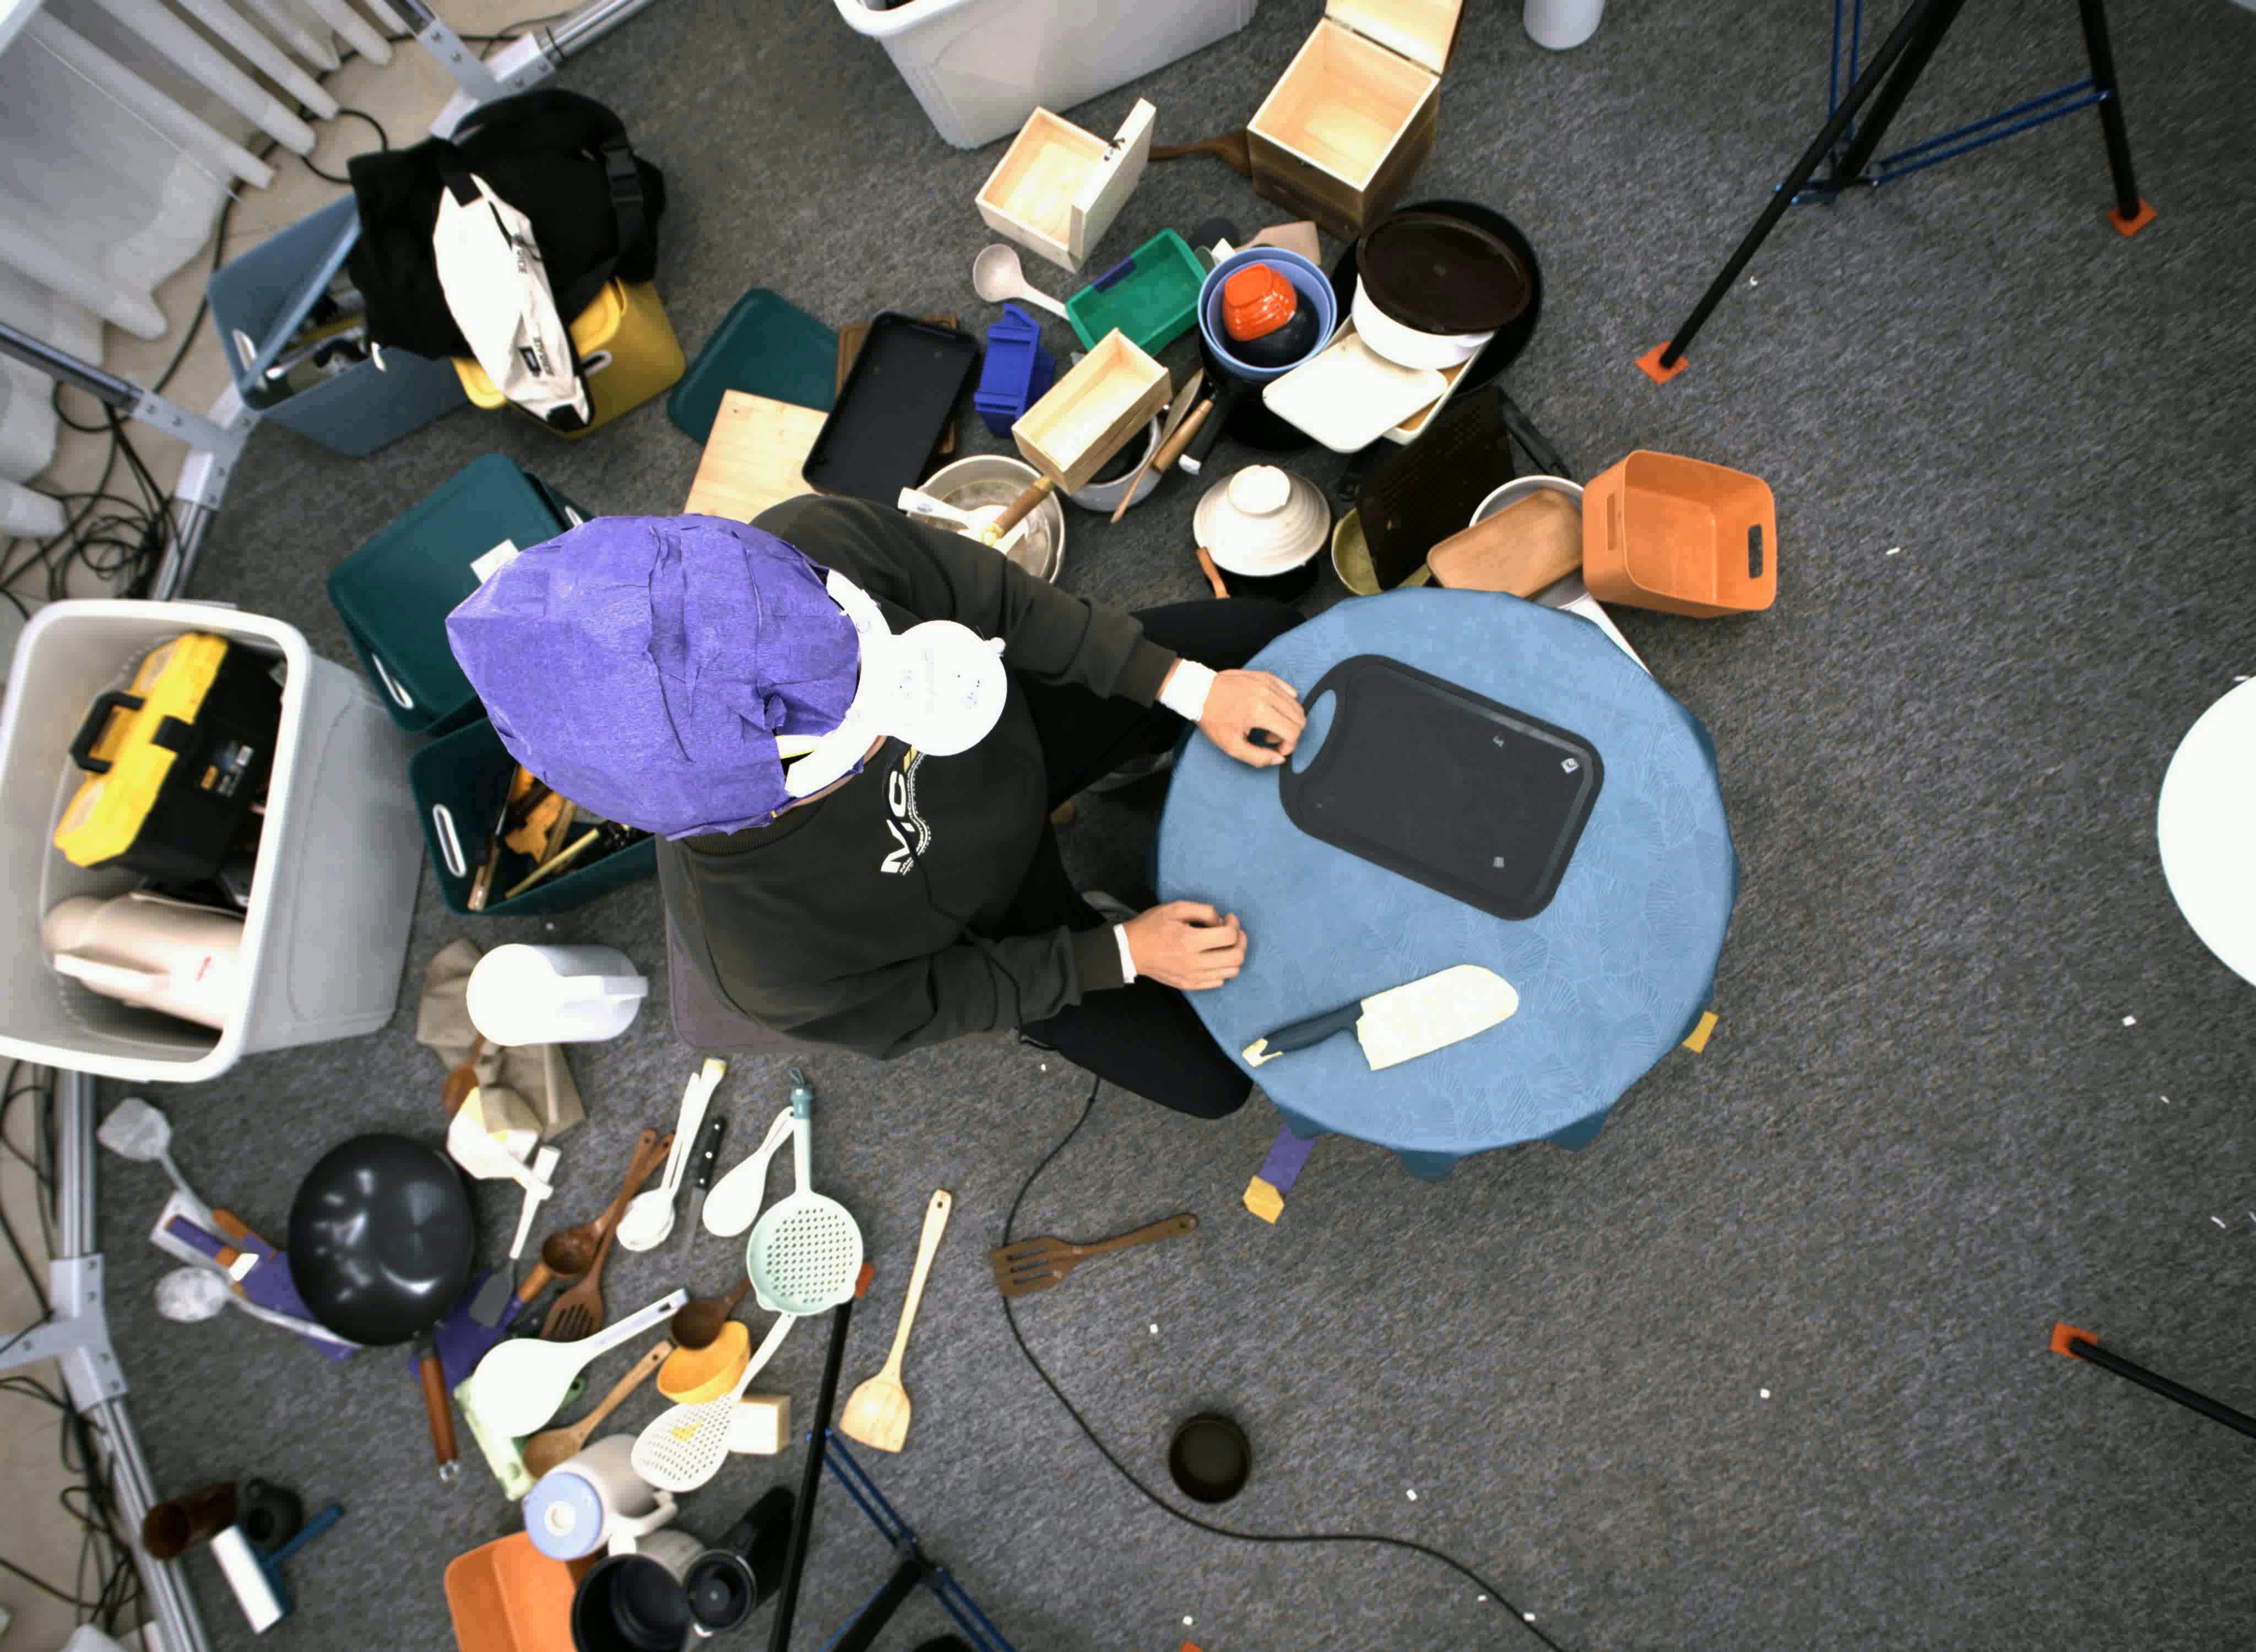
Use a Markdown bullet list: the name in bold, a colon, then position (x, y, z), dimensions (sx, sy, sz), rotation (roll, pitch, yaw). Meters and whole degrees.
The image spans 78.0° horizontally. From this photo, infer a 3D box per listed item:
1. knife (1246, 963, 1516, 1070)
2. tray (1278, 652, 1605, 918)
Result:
- **knife**: position (0.265, 0.210, 1.446), dimensions (0.291, 0.027, 0.080), rotation (-18, 82, 8)
- **tray**: position (0.322, -0.050, 1.453), dimensions (0.325, 0.010, 0.211), rotation (24, 92, 11)
